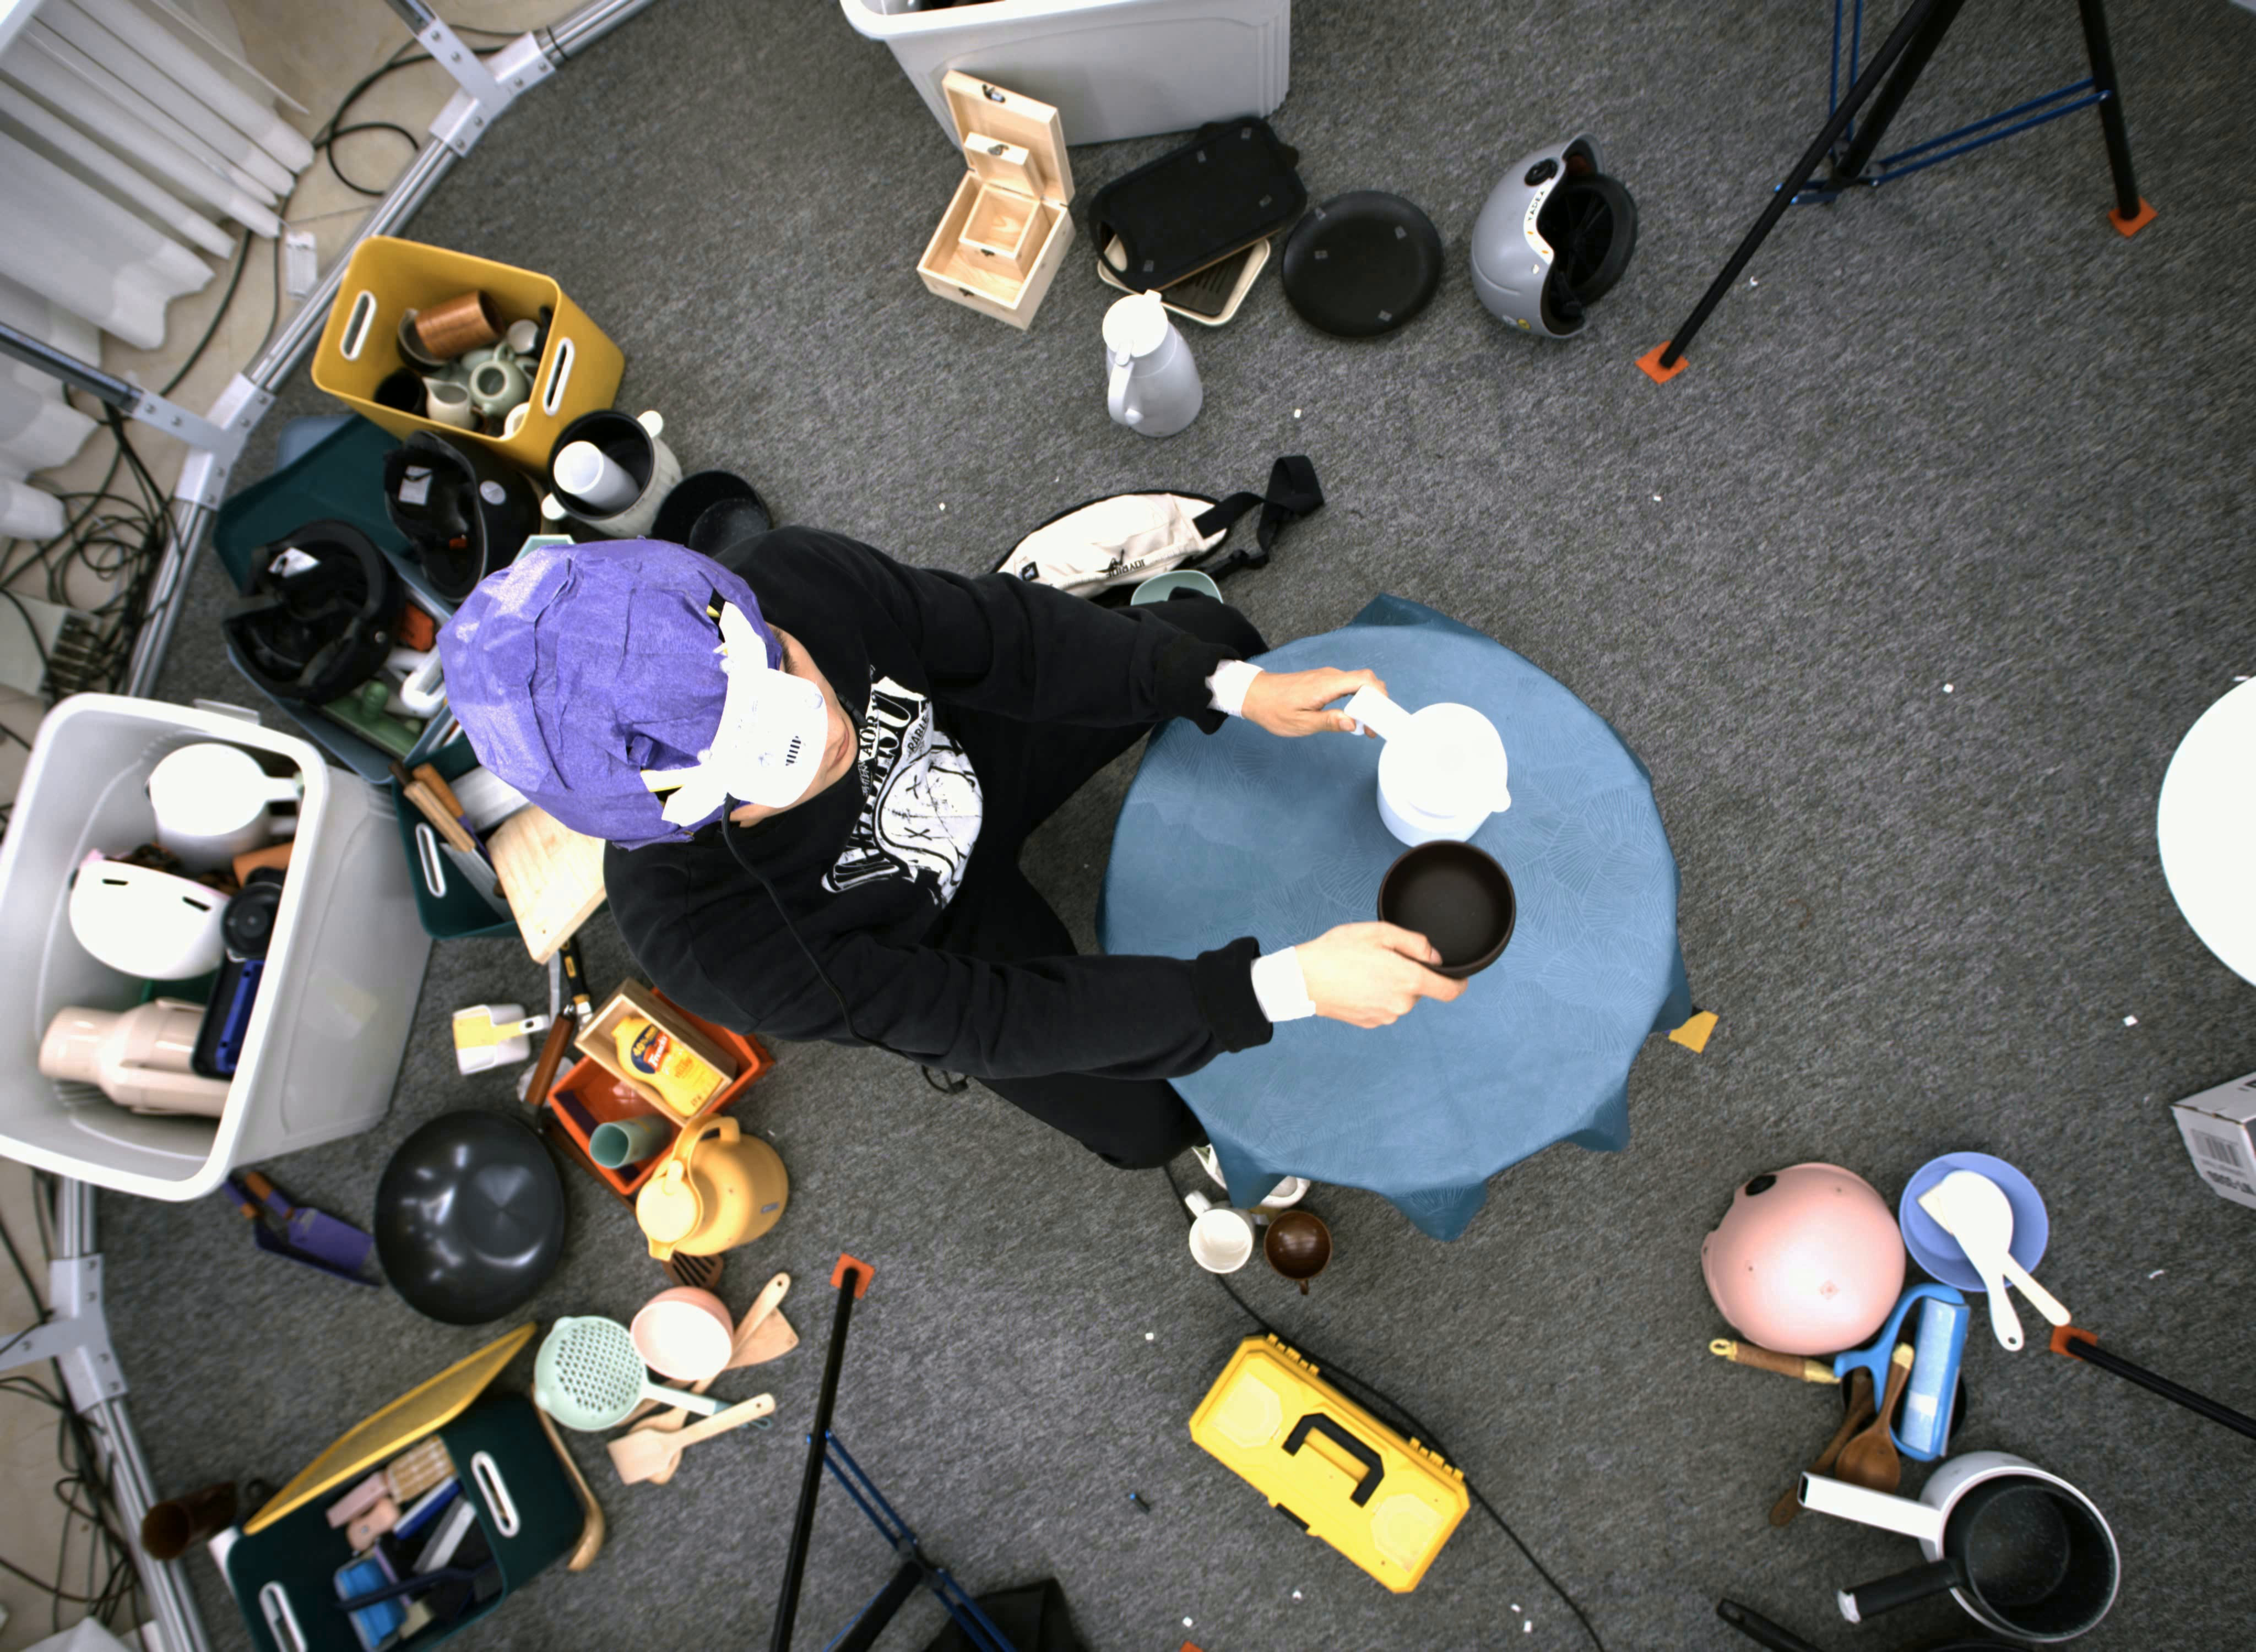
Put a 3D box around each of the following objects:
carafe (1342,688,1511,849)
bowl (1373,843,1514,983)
[{"bbox_3d":[0.284,-0.055,1.329,0.172,0.268,0.124,37,94,11],"label":"carafe"},{"bbox_3d":[0.271,0.078,1.187,0.118,0.070,0.116,-3,74,11],"label":"bowl"}]
